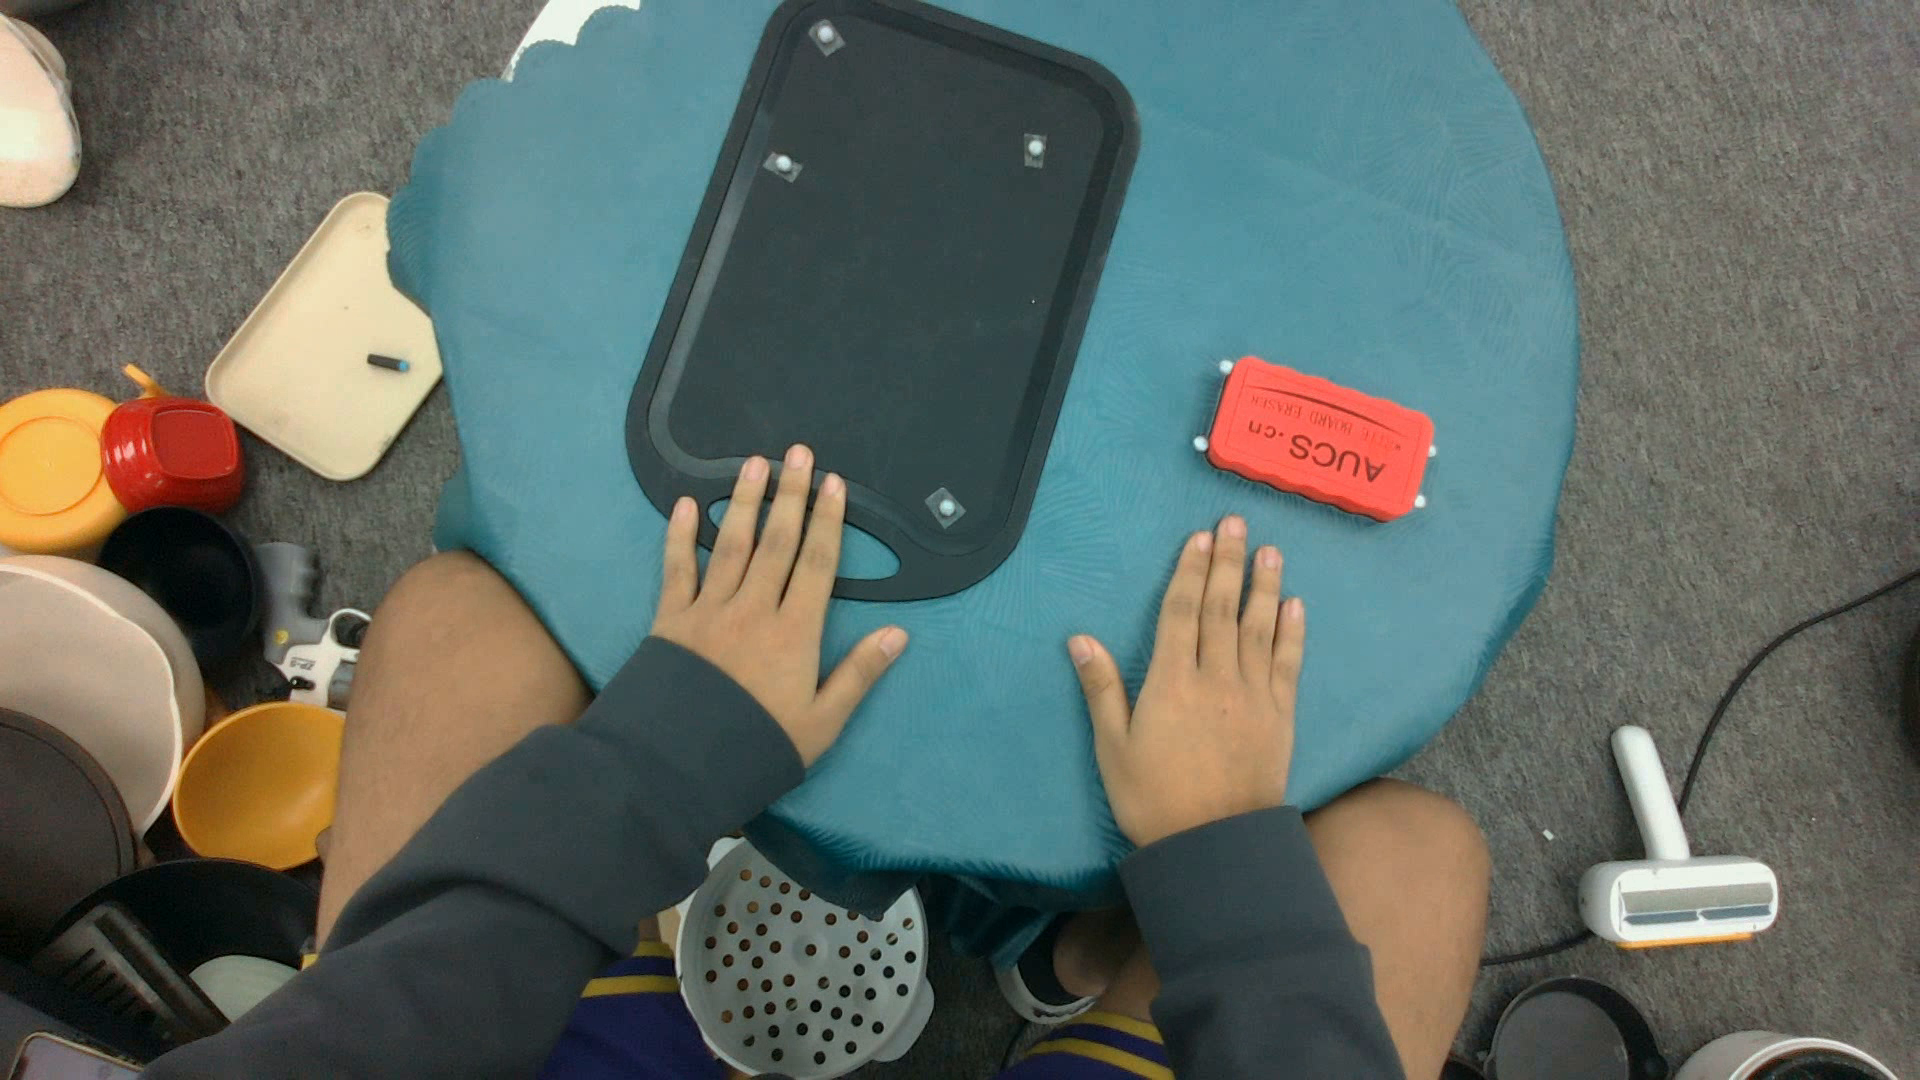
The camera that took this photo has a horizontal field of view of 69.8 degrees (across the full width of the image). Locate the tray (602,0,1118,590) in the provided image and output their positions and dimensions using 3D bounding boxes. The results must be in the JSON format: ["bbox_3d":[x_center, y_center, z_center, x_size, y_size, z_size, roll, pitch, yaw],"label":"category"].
[{"bbox_3d":[-0.048,-0.135,0.713,0.211,0.010,0.326,18,77,-3],"label":"tray"}]

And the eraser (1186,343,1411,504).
[{"bbox_3d":[0.175,-0.060,0.712,0.108,0.023,0.059,17,77,-1],"label":"eraser"}]
